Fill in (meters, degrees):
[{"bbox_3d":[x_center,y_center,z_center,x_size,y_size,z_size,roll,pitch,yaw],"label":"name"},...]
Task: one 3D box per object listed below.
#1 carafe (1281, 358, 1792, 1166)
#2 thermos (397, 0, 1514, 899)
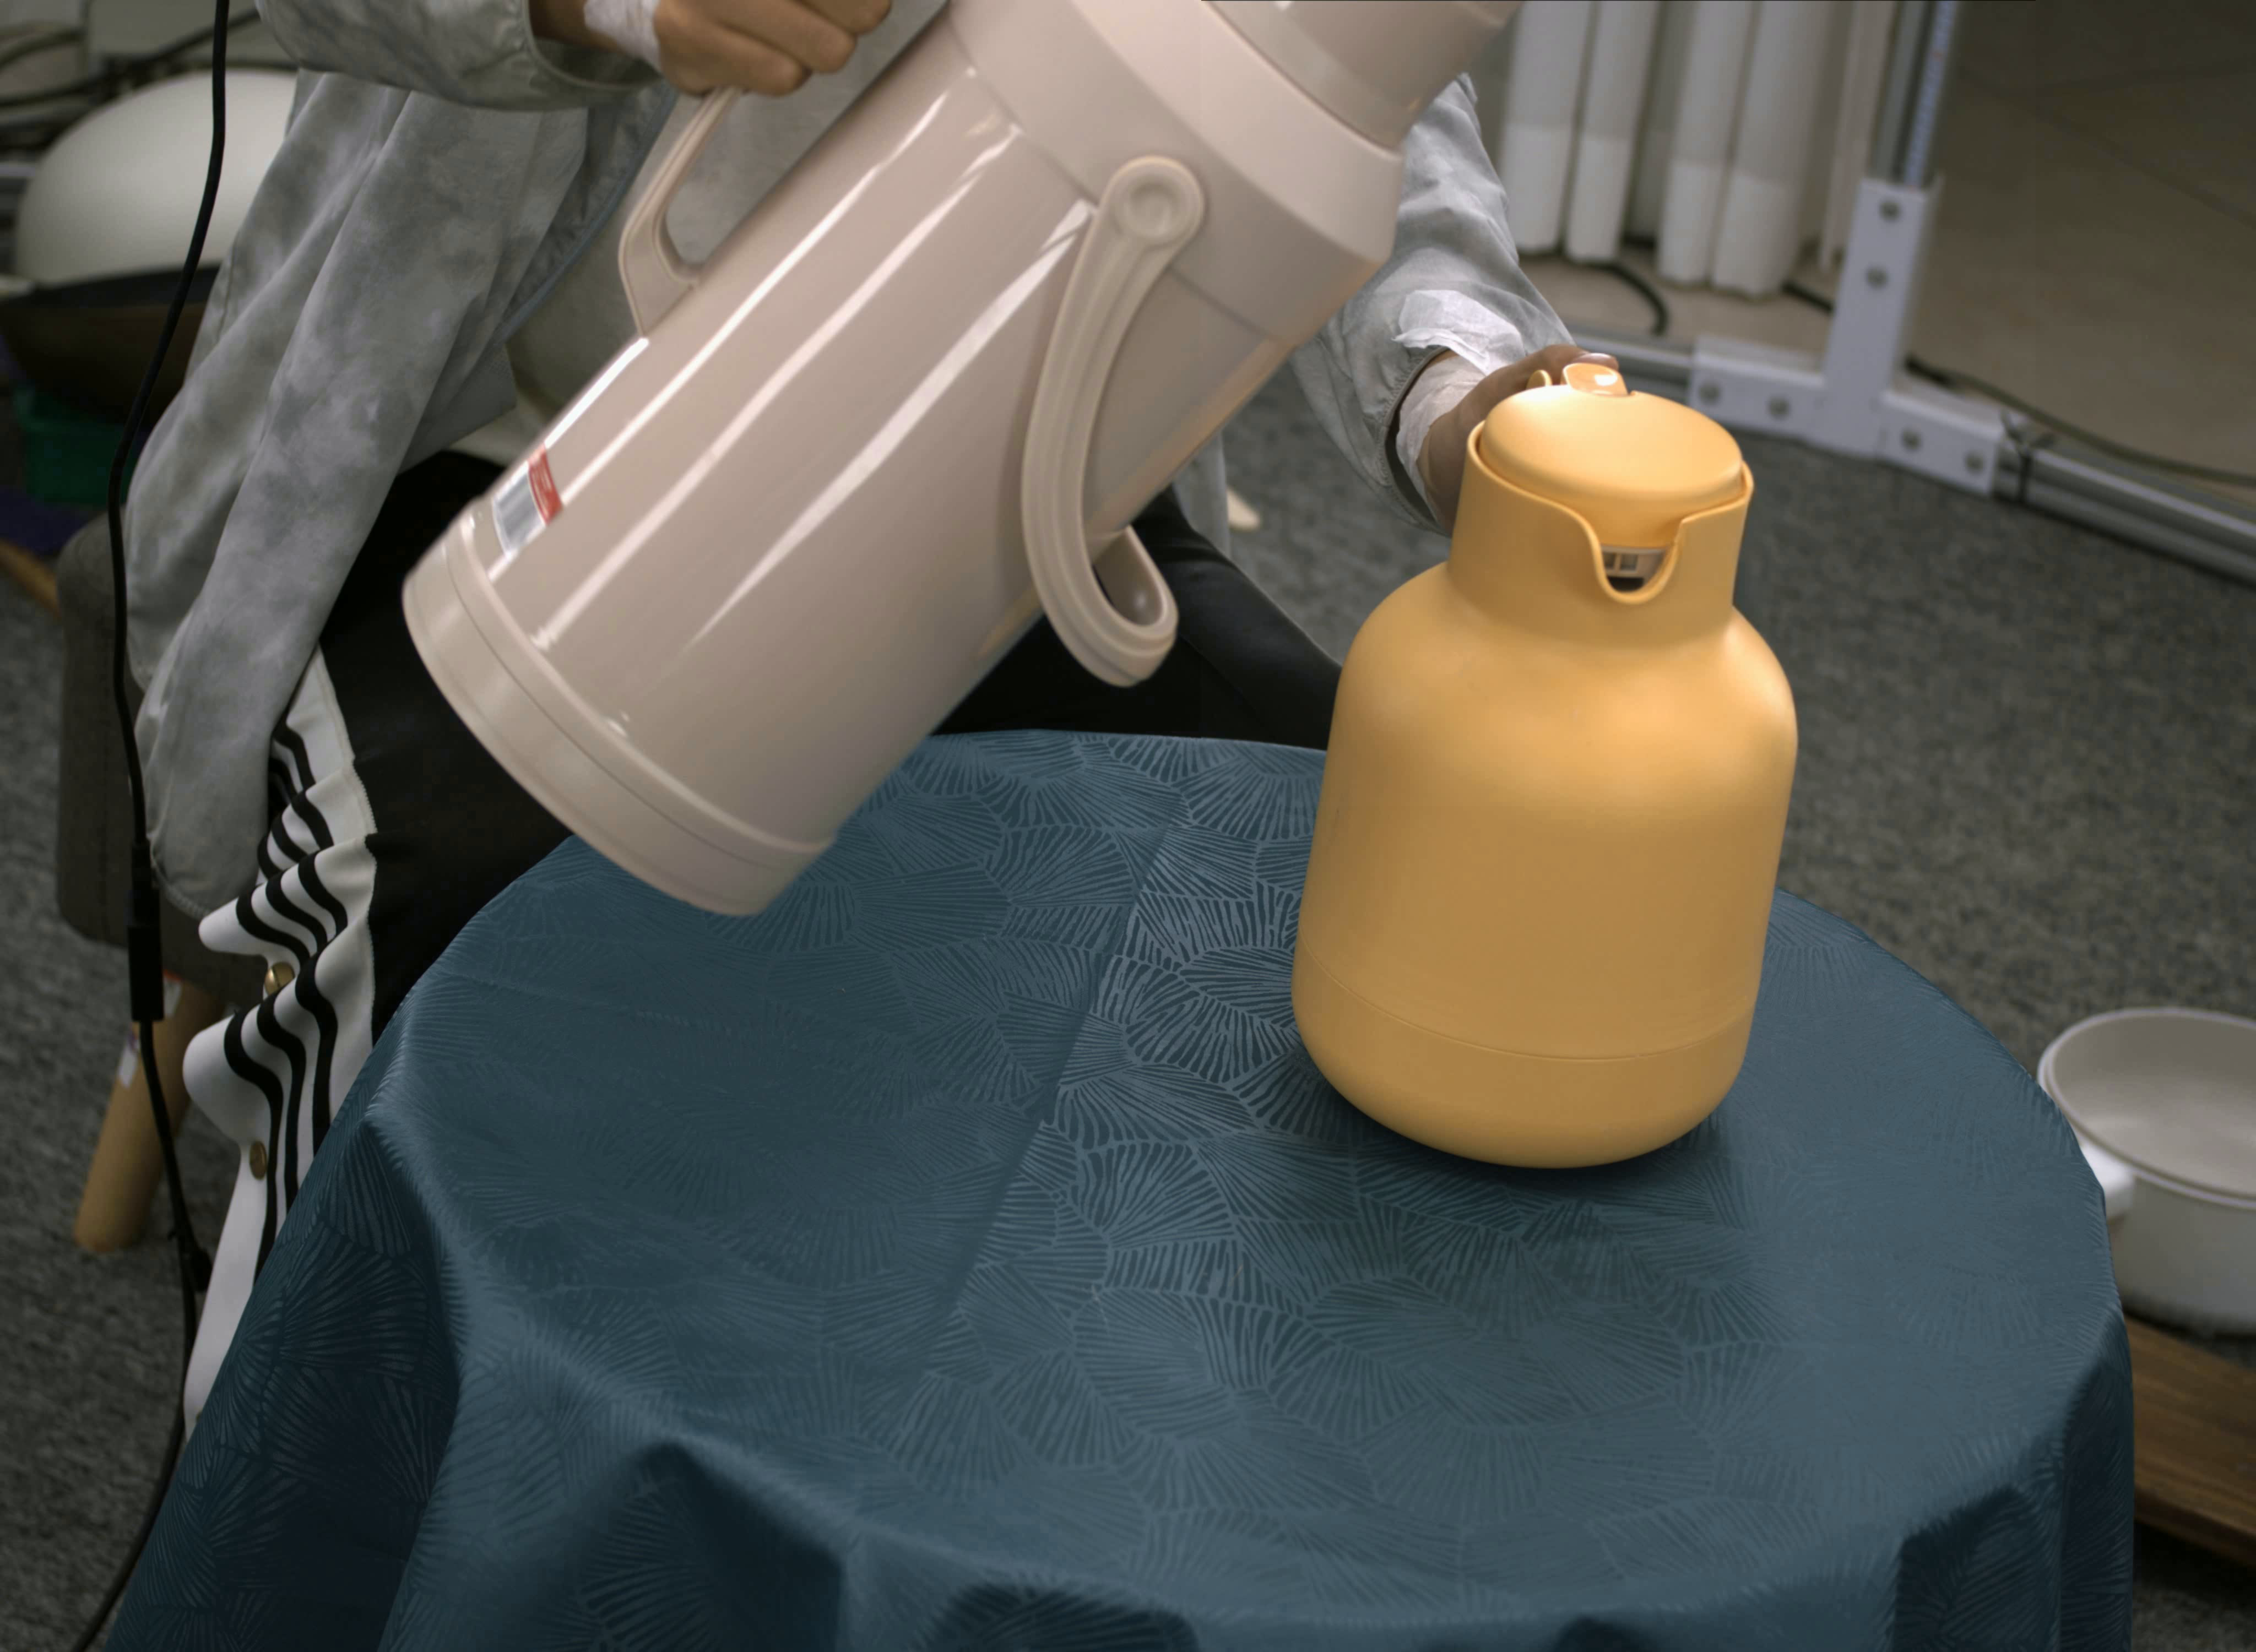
[{"bbox_3d":[0.148,-0.031,1.855,0.163,0.259,0.203,7,27,-4],"label":"carafe"},{"bbox_3d":[-0.053,-0.177,1.675,0.206,0.406,0.176,42,16,-12],"label":"thermos"}]
